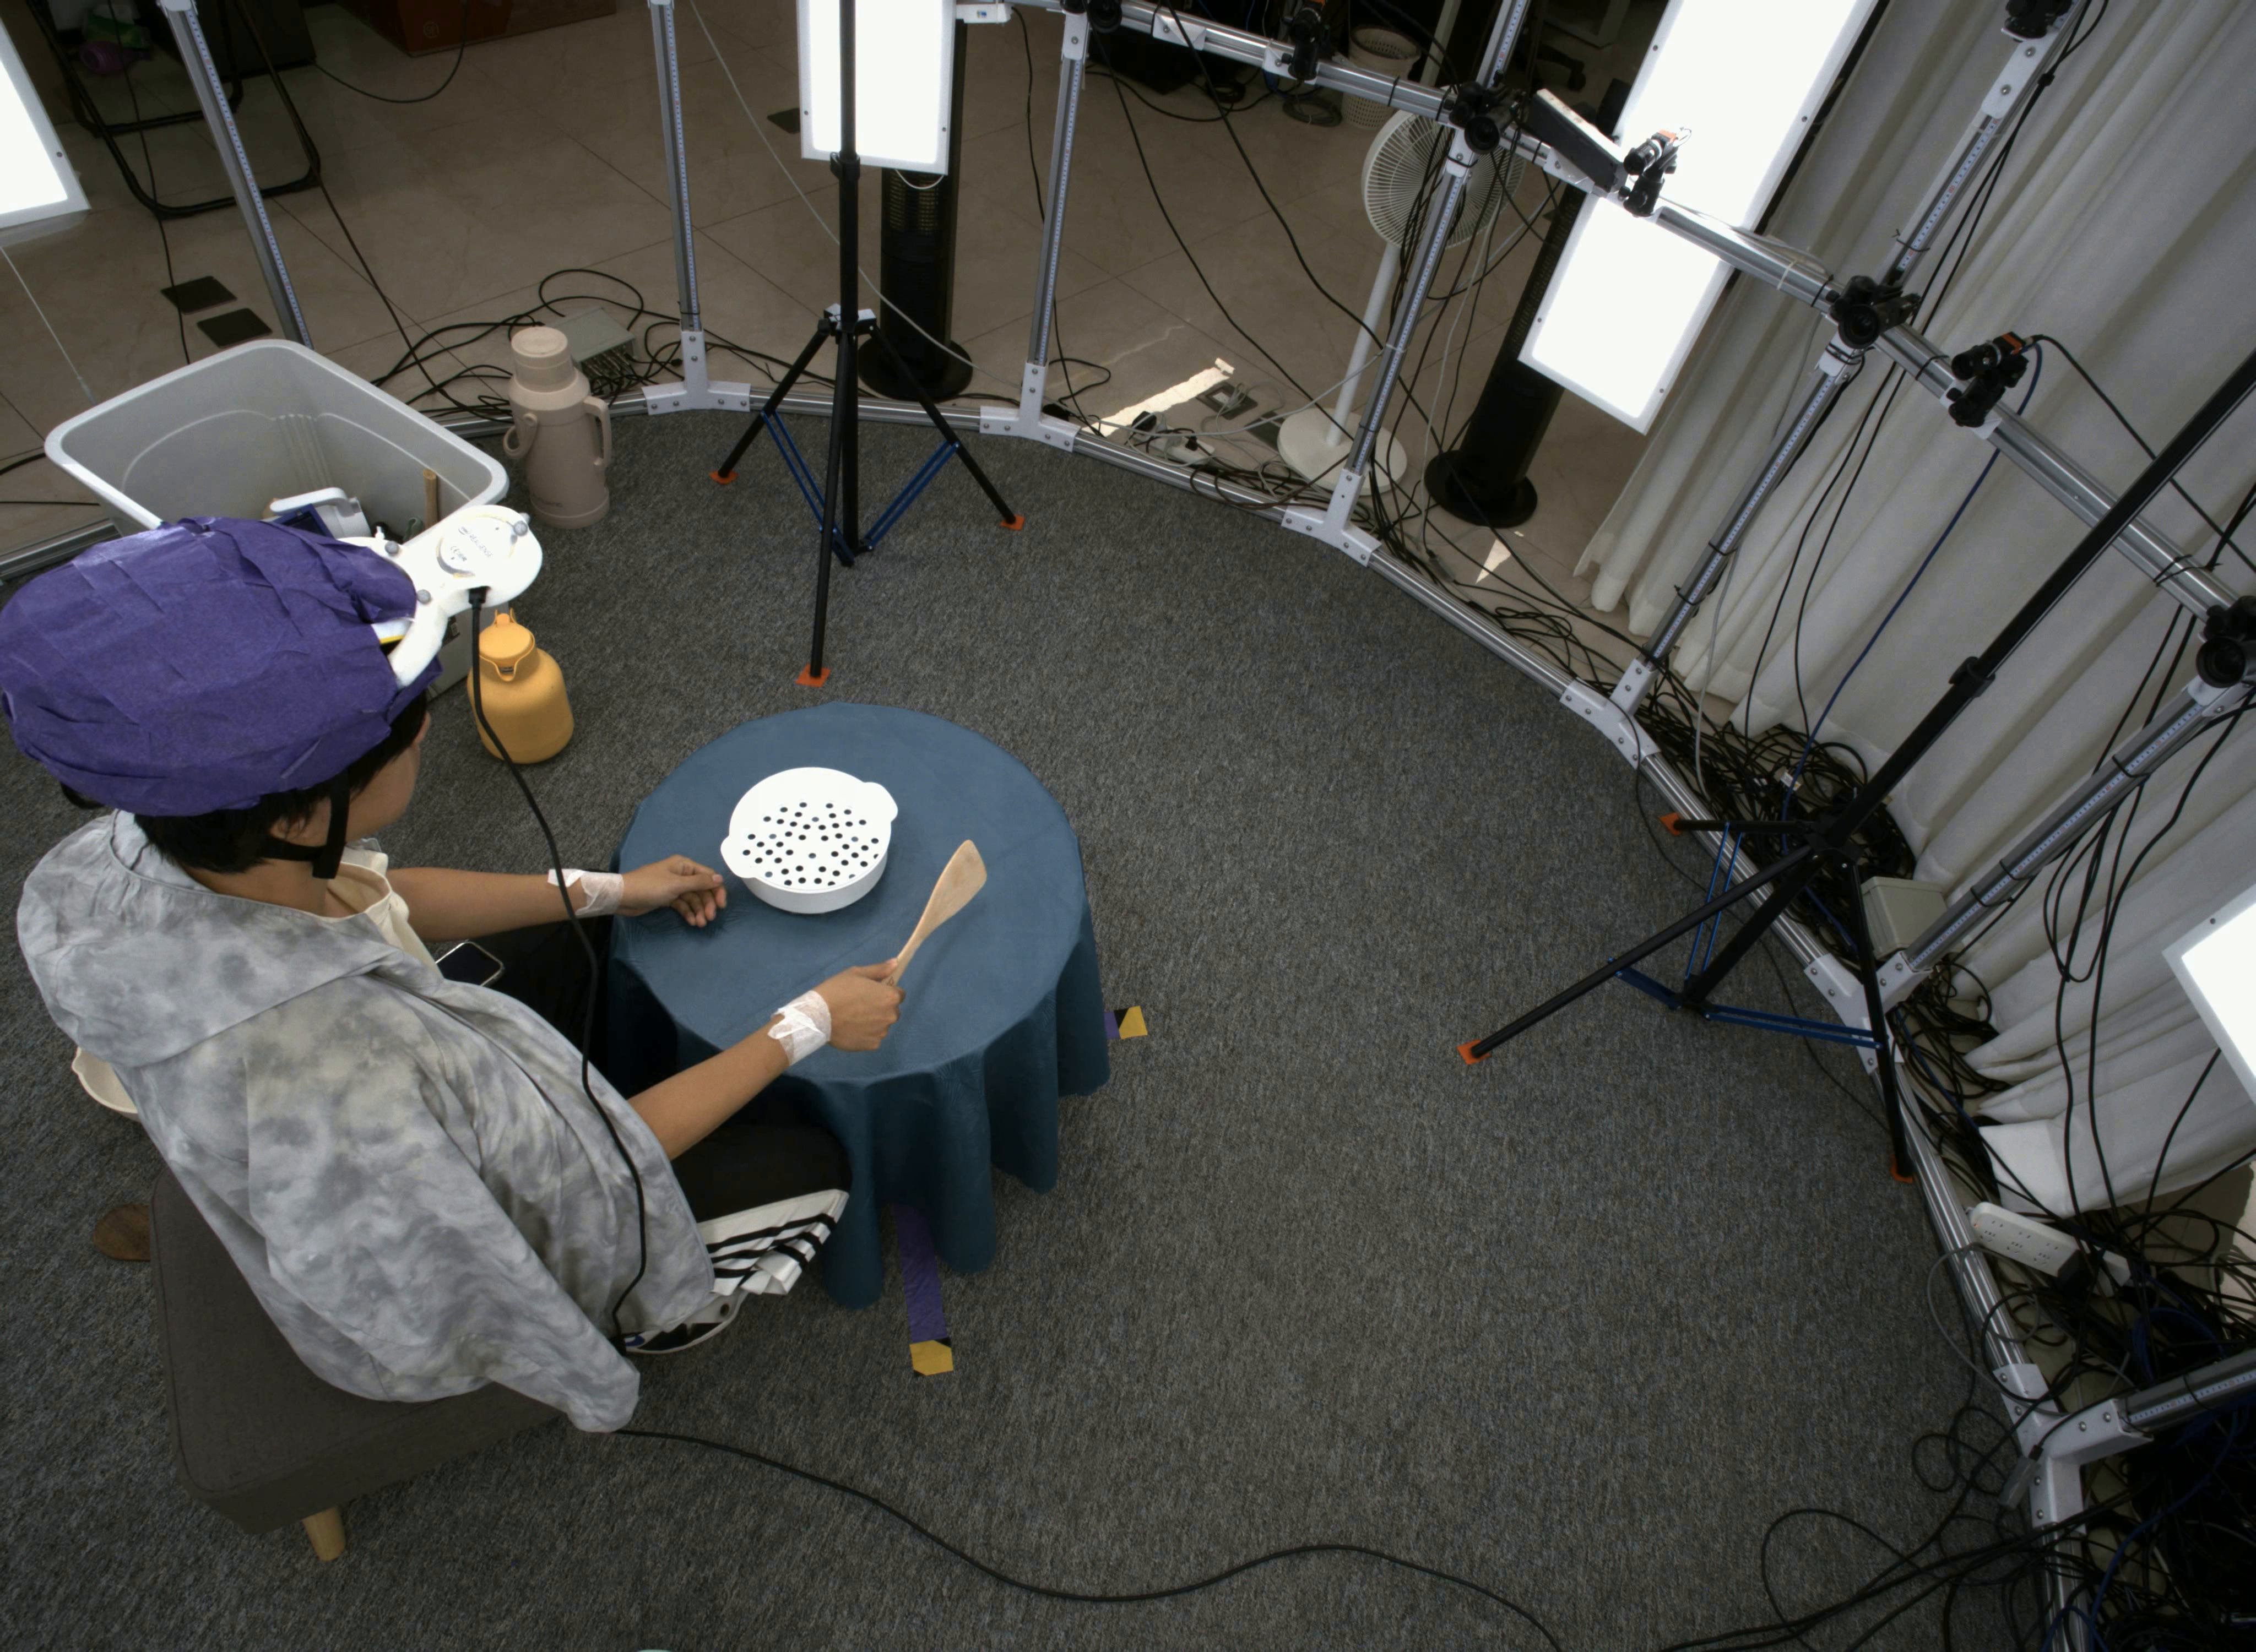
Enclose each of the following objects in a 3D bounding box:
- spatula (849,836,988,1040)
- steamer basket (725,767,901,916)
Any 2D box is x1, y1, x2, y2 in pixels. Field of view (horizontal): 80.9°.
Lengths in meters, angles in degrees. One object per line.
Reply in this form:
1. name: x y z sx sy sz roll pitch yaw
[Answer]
1. spatula: -0.250 0.132 1.565 0.016 0.083 0.325 6 41 22
2. steamer basket: -0.403 0.019 1.675 0.231 0.071 0.196 -25 61 -27
